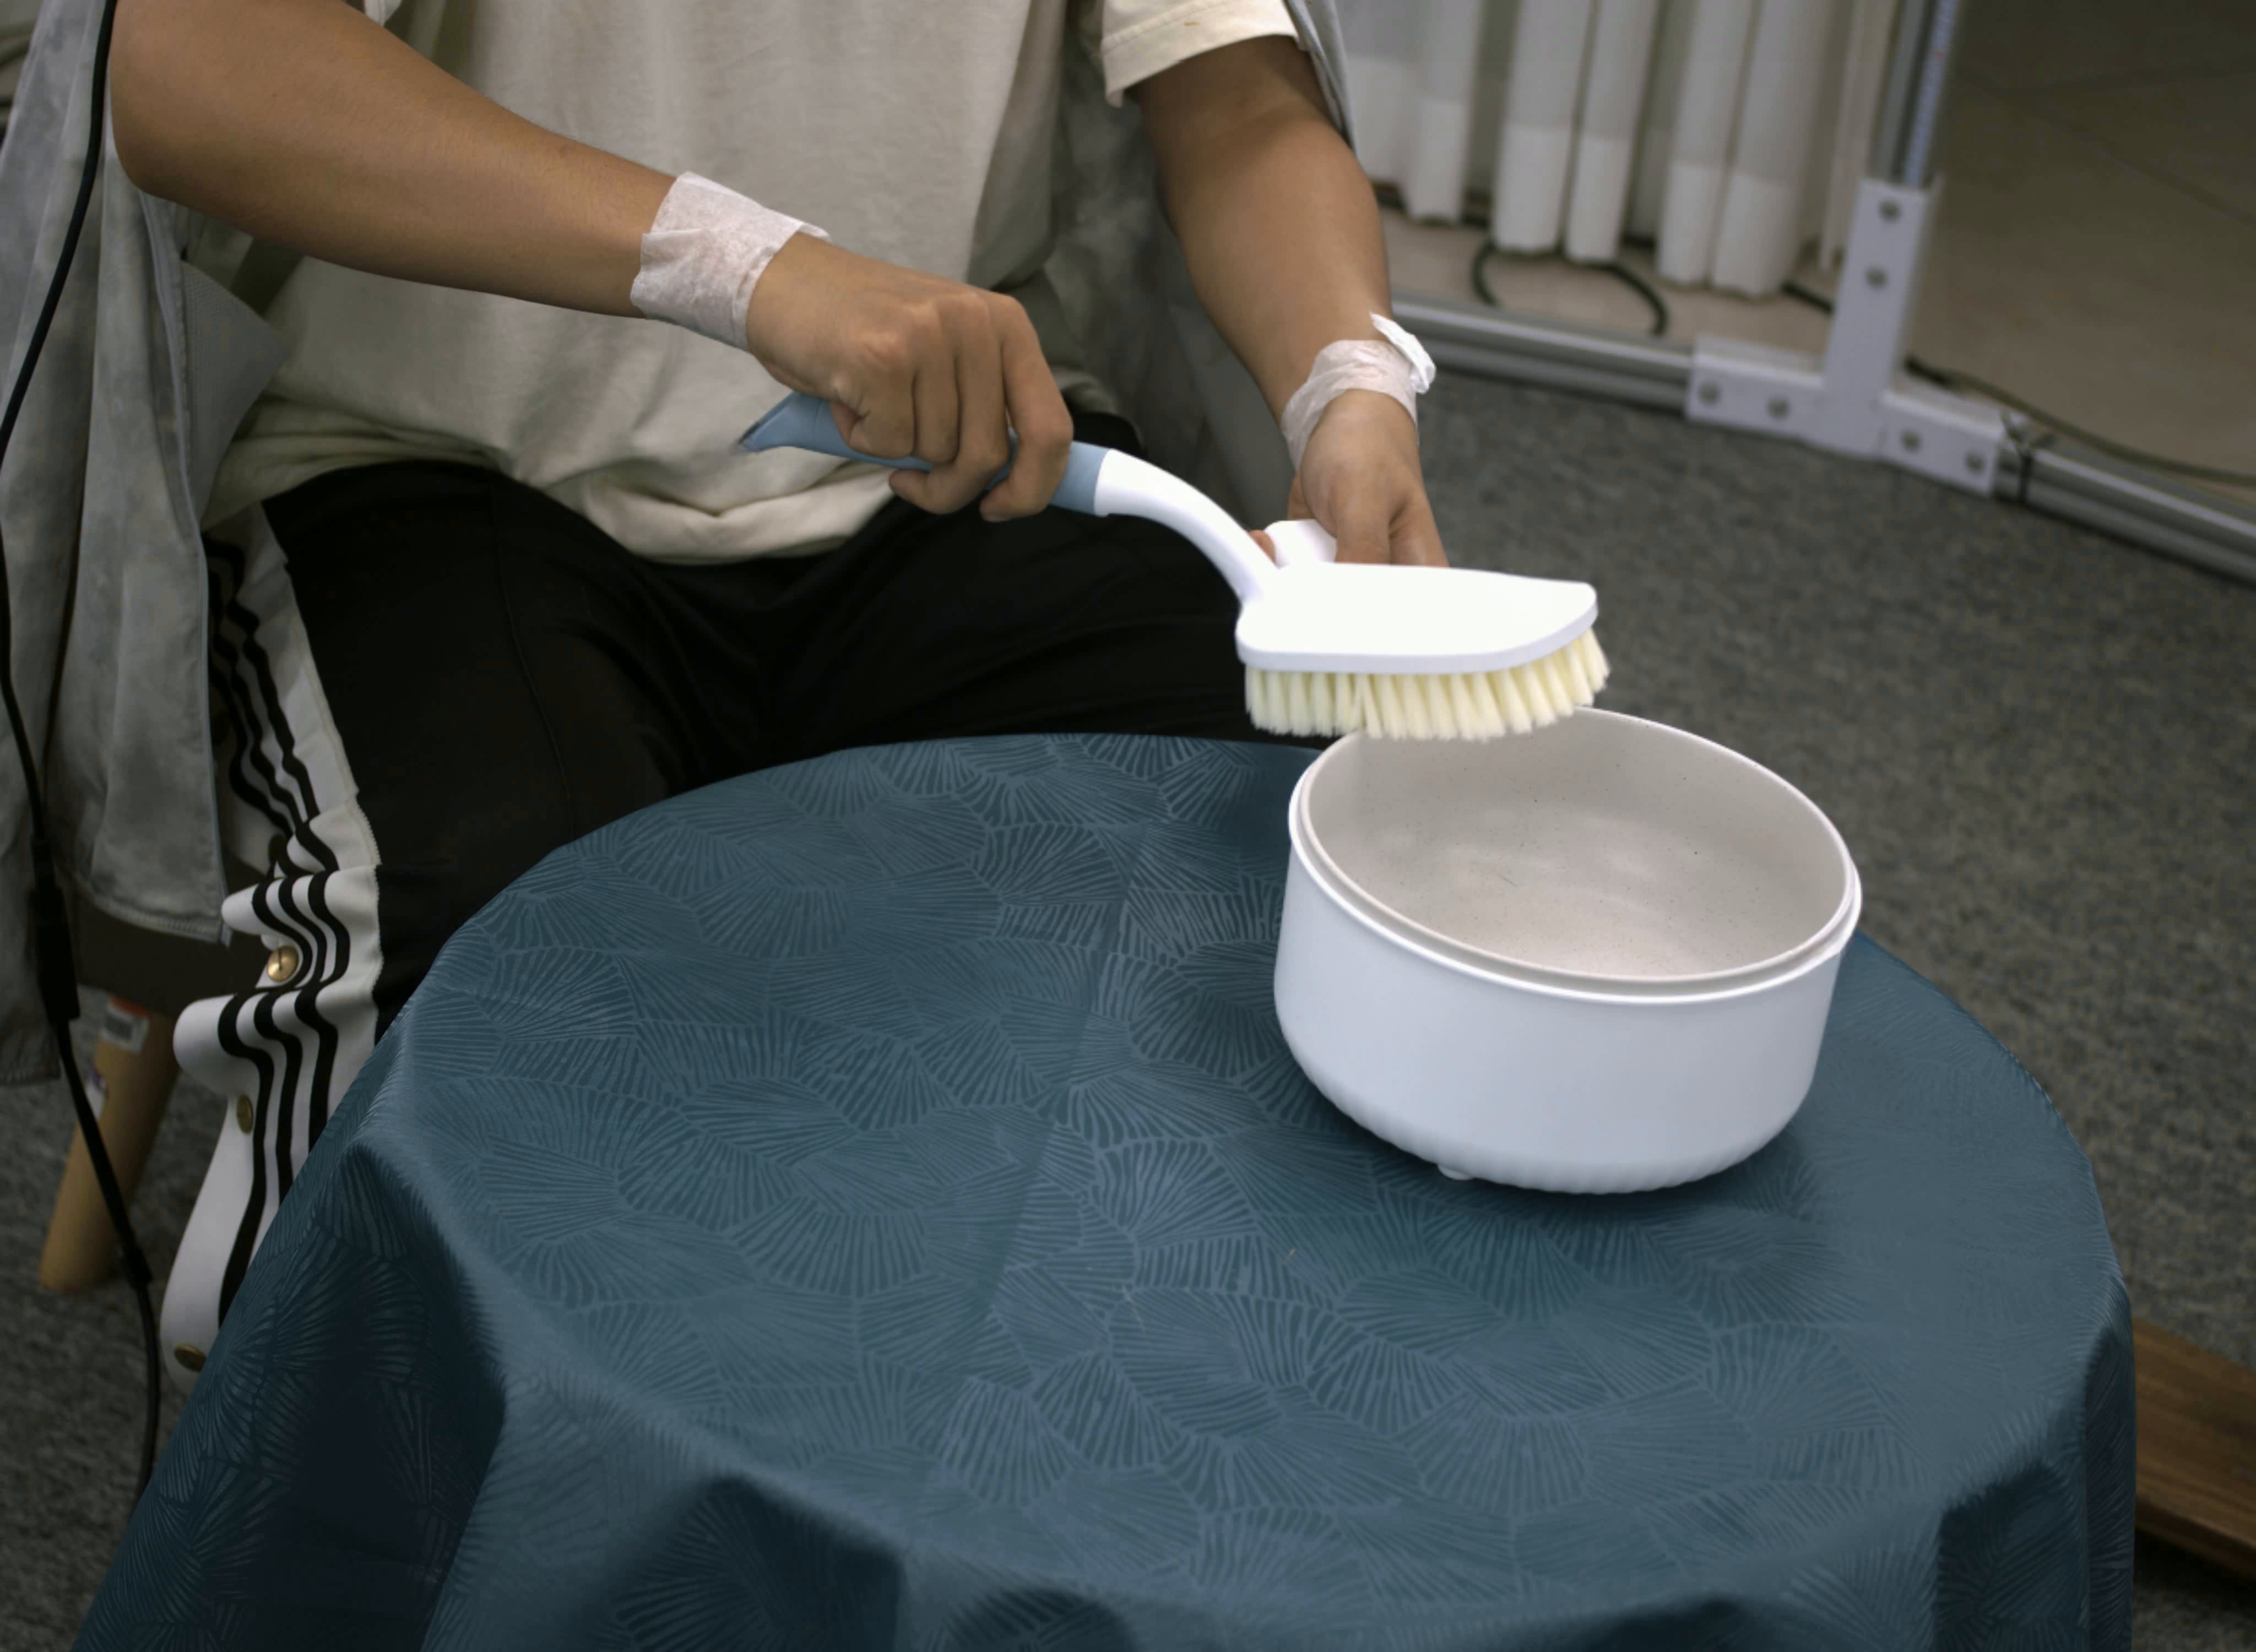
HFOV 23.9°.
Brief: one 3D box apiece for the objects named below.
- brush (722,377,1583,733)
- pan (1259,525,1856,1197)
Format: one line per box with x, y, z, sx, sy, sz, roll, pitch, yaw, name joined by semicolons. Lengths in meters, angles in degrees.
0.006;-0.087;1.933;0.325;0.085;0.083;13;-6;12;brush
0.123;0.011;1.937;0.200;0.102;0.358;-5;30;-20;pan
